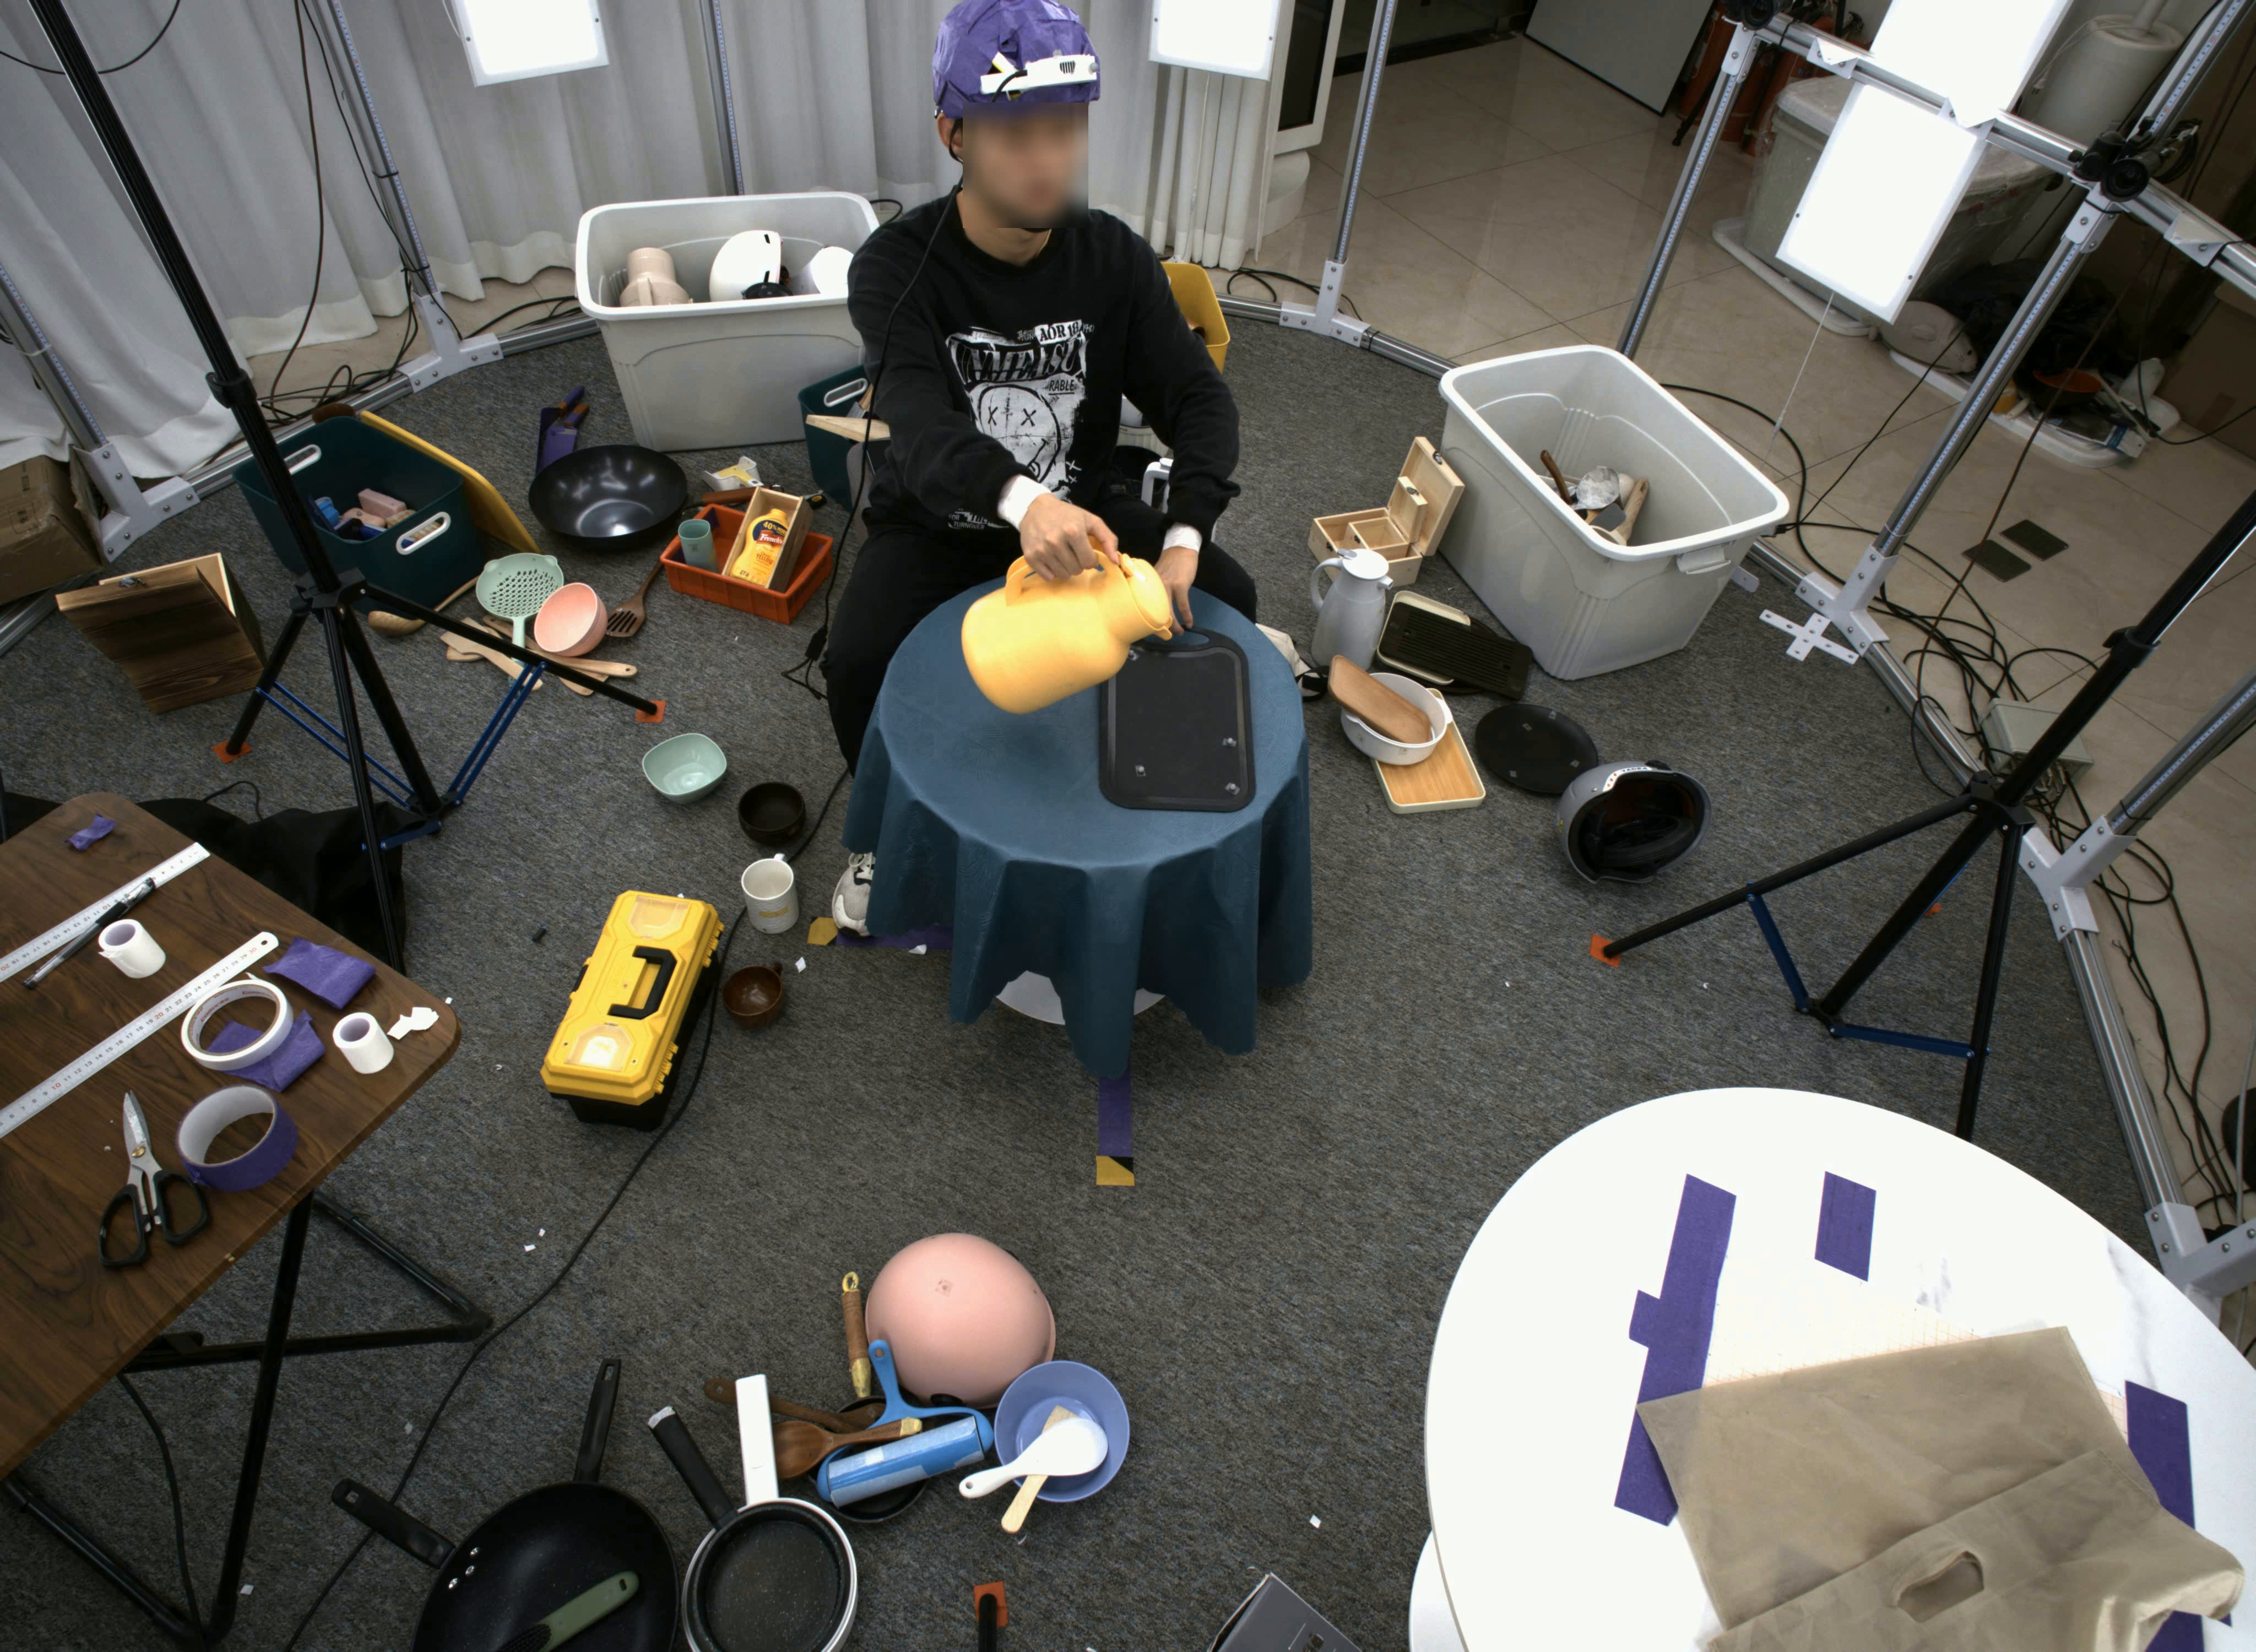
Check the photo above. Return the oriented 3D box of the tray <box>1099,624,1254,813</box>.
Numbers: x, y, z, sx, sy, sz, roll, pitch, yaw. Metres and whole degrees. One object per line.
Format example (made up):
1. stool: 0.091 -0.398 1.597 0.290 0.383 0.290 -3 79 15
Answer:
1. tray: 0.068 -0.158 1.782 0.211 0.009 0.333 3 56 -2

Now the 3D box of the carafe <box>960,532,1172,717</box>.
1. carafe: -0.085 -0.263 1.625 0.259 0.198 0.167 -22 41 23
